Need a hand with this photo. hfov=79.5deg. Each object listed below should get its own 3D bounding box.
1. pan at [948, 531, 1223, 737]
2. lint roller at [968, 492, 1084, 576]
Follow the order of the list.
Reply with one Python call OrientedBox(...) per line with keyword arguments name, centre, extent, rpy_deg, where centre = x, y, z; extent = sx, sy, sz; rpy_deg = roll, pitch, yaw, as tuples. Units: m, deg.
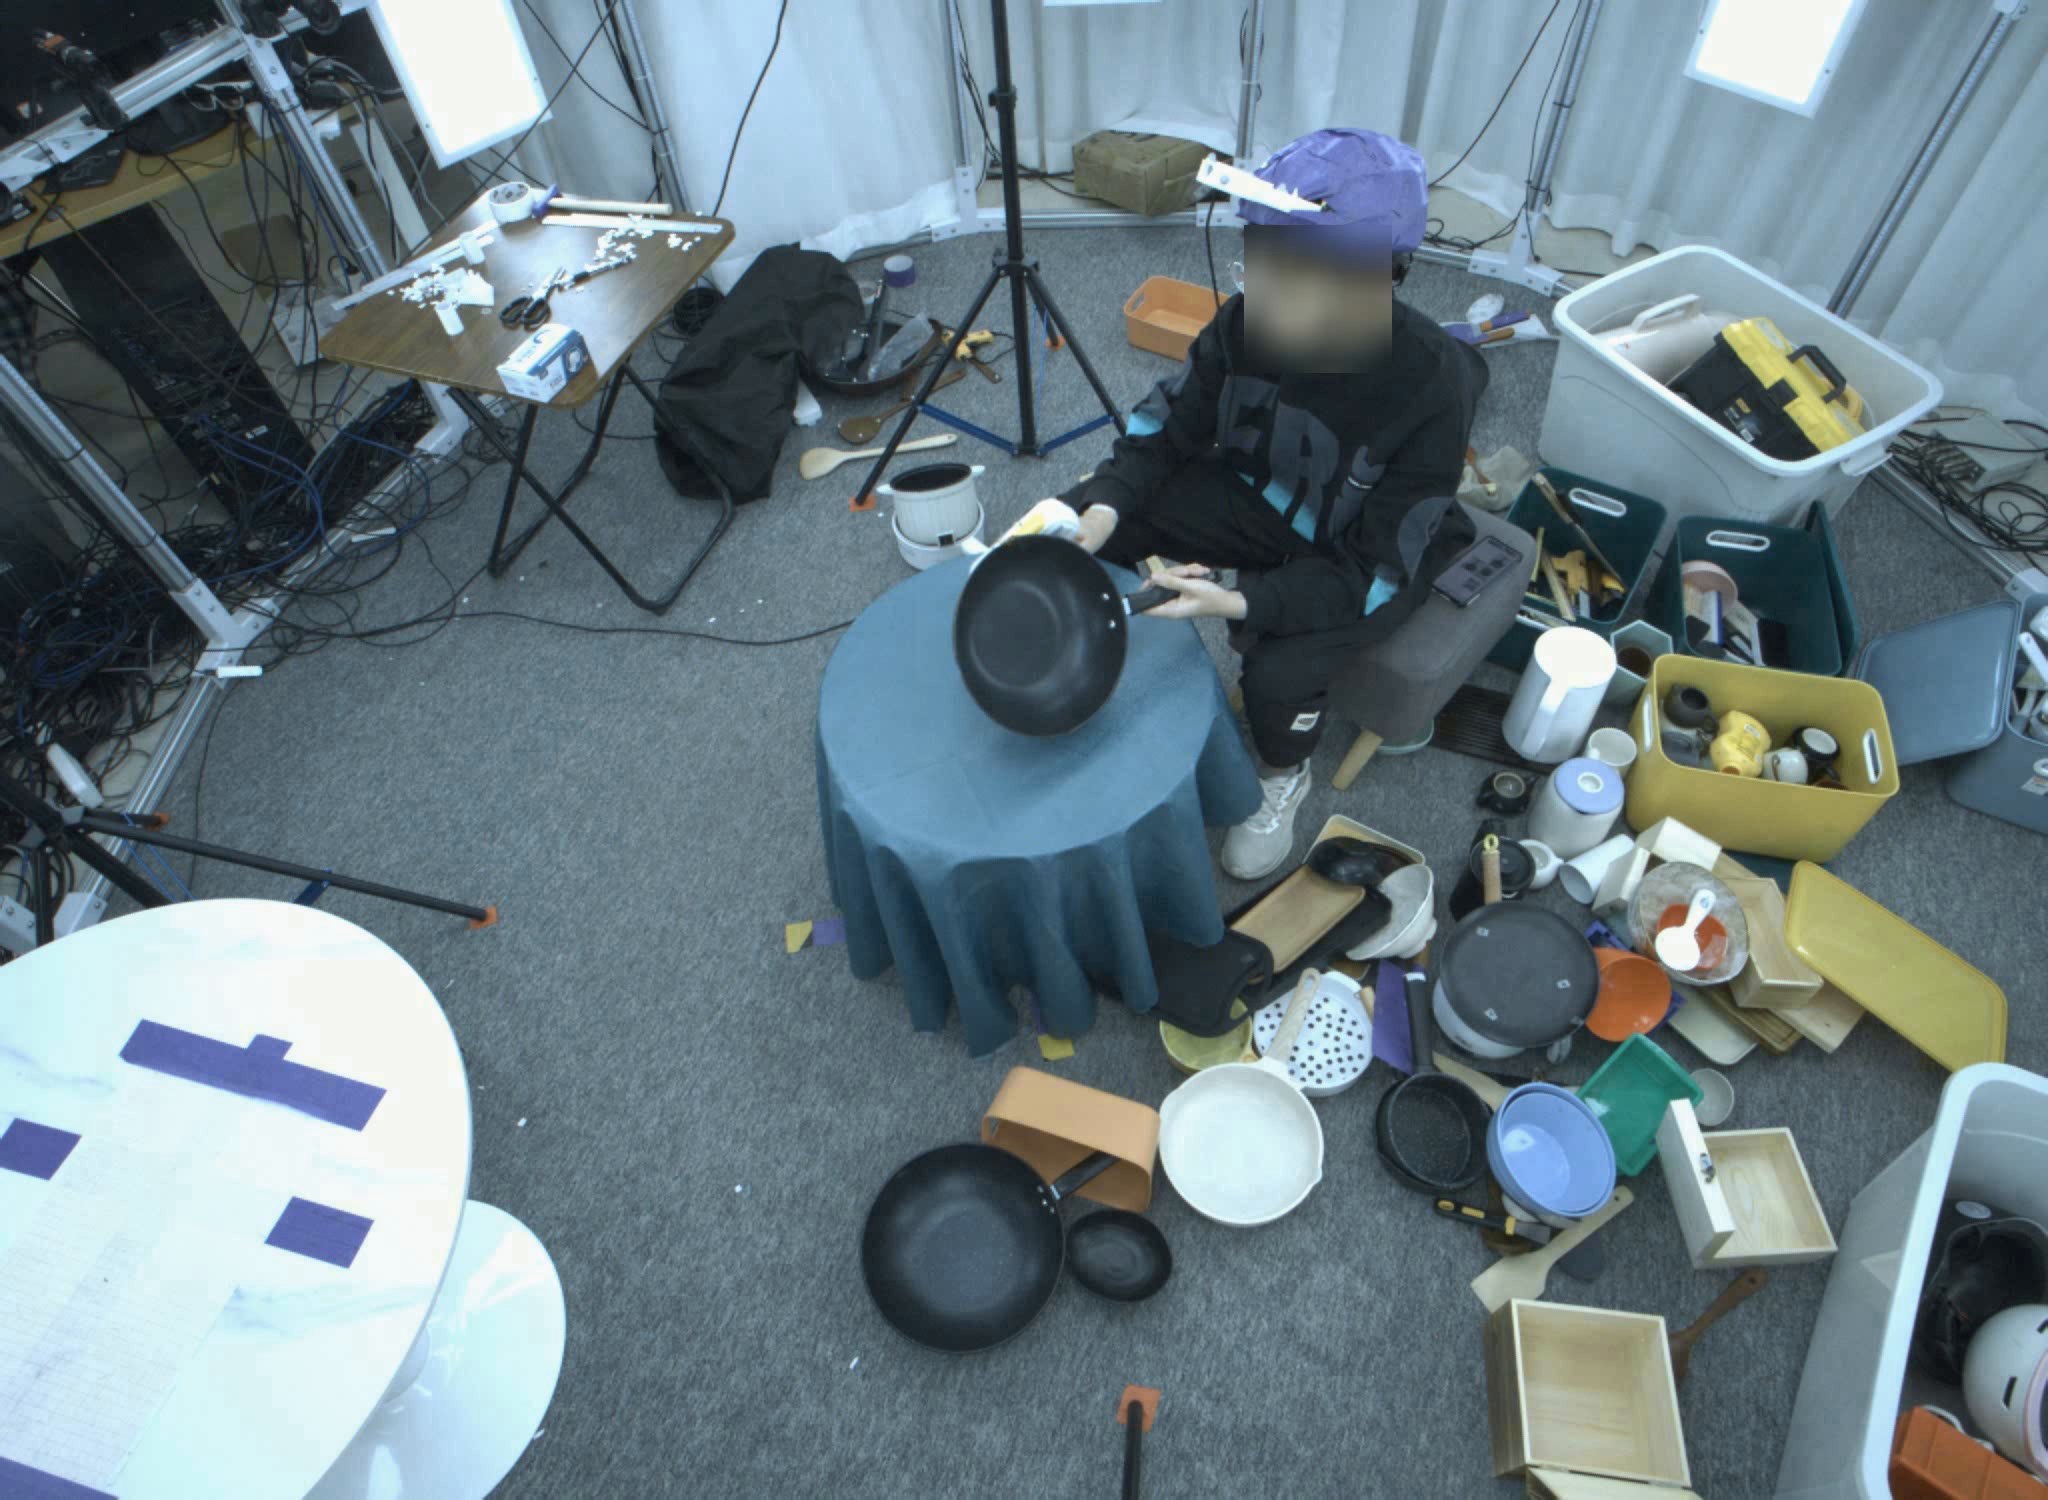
OrientedBox(name="pan", centre=(0.083, -0.193, 1.768), extent=(0.469, 0.290, 0.085), rpy_deg=(-22, 16, -27))
OrientedBox(name="lint roller", centre=(0.027, -0.298, 1.804), extent=(0.191, 0.196, 0.073), rpy_deg=(-41, 69, 24))
